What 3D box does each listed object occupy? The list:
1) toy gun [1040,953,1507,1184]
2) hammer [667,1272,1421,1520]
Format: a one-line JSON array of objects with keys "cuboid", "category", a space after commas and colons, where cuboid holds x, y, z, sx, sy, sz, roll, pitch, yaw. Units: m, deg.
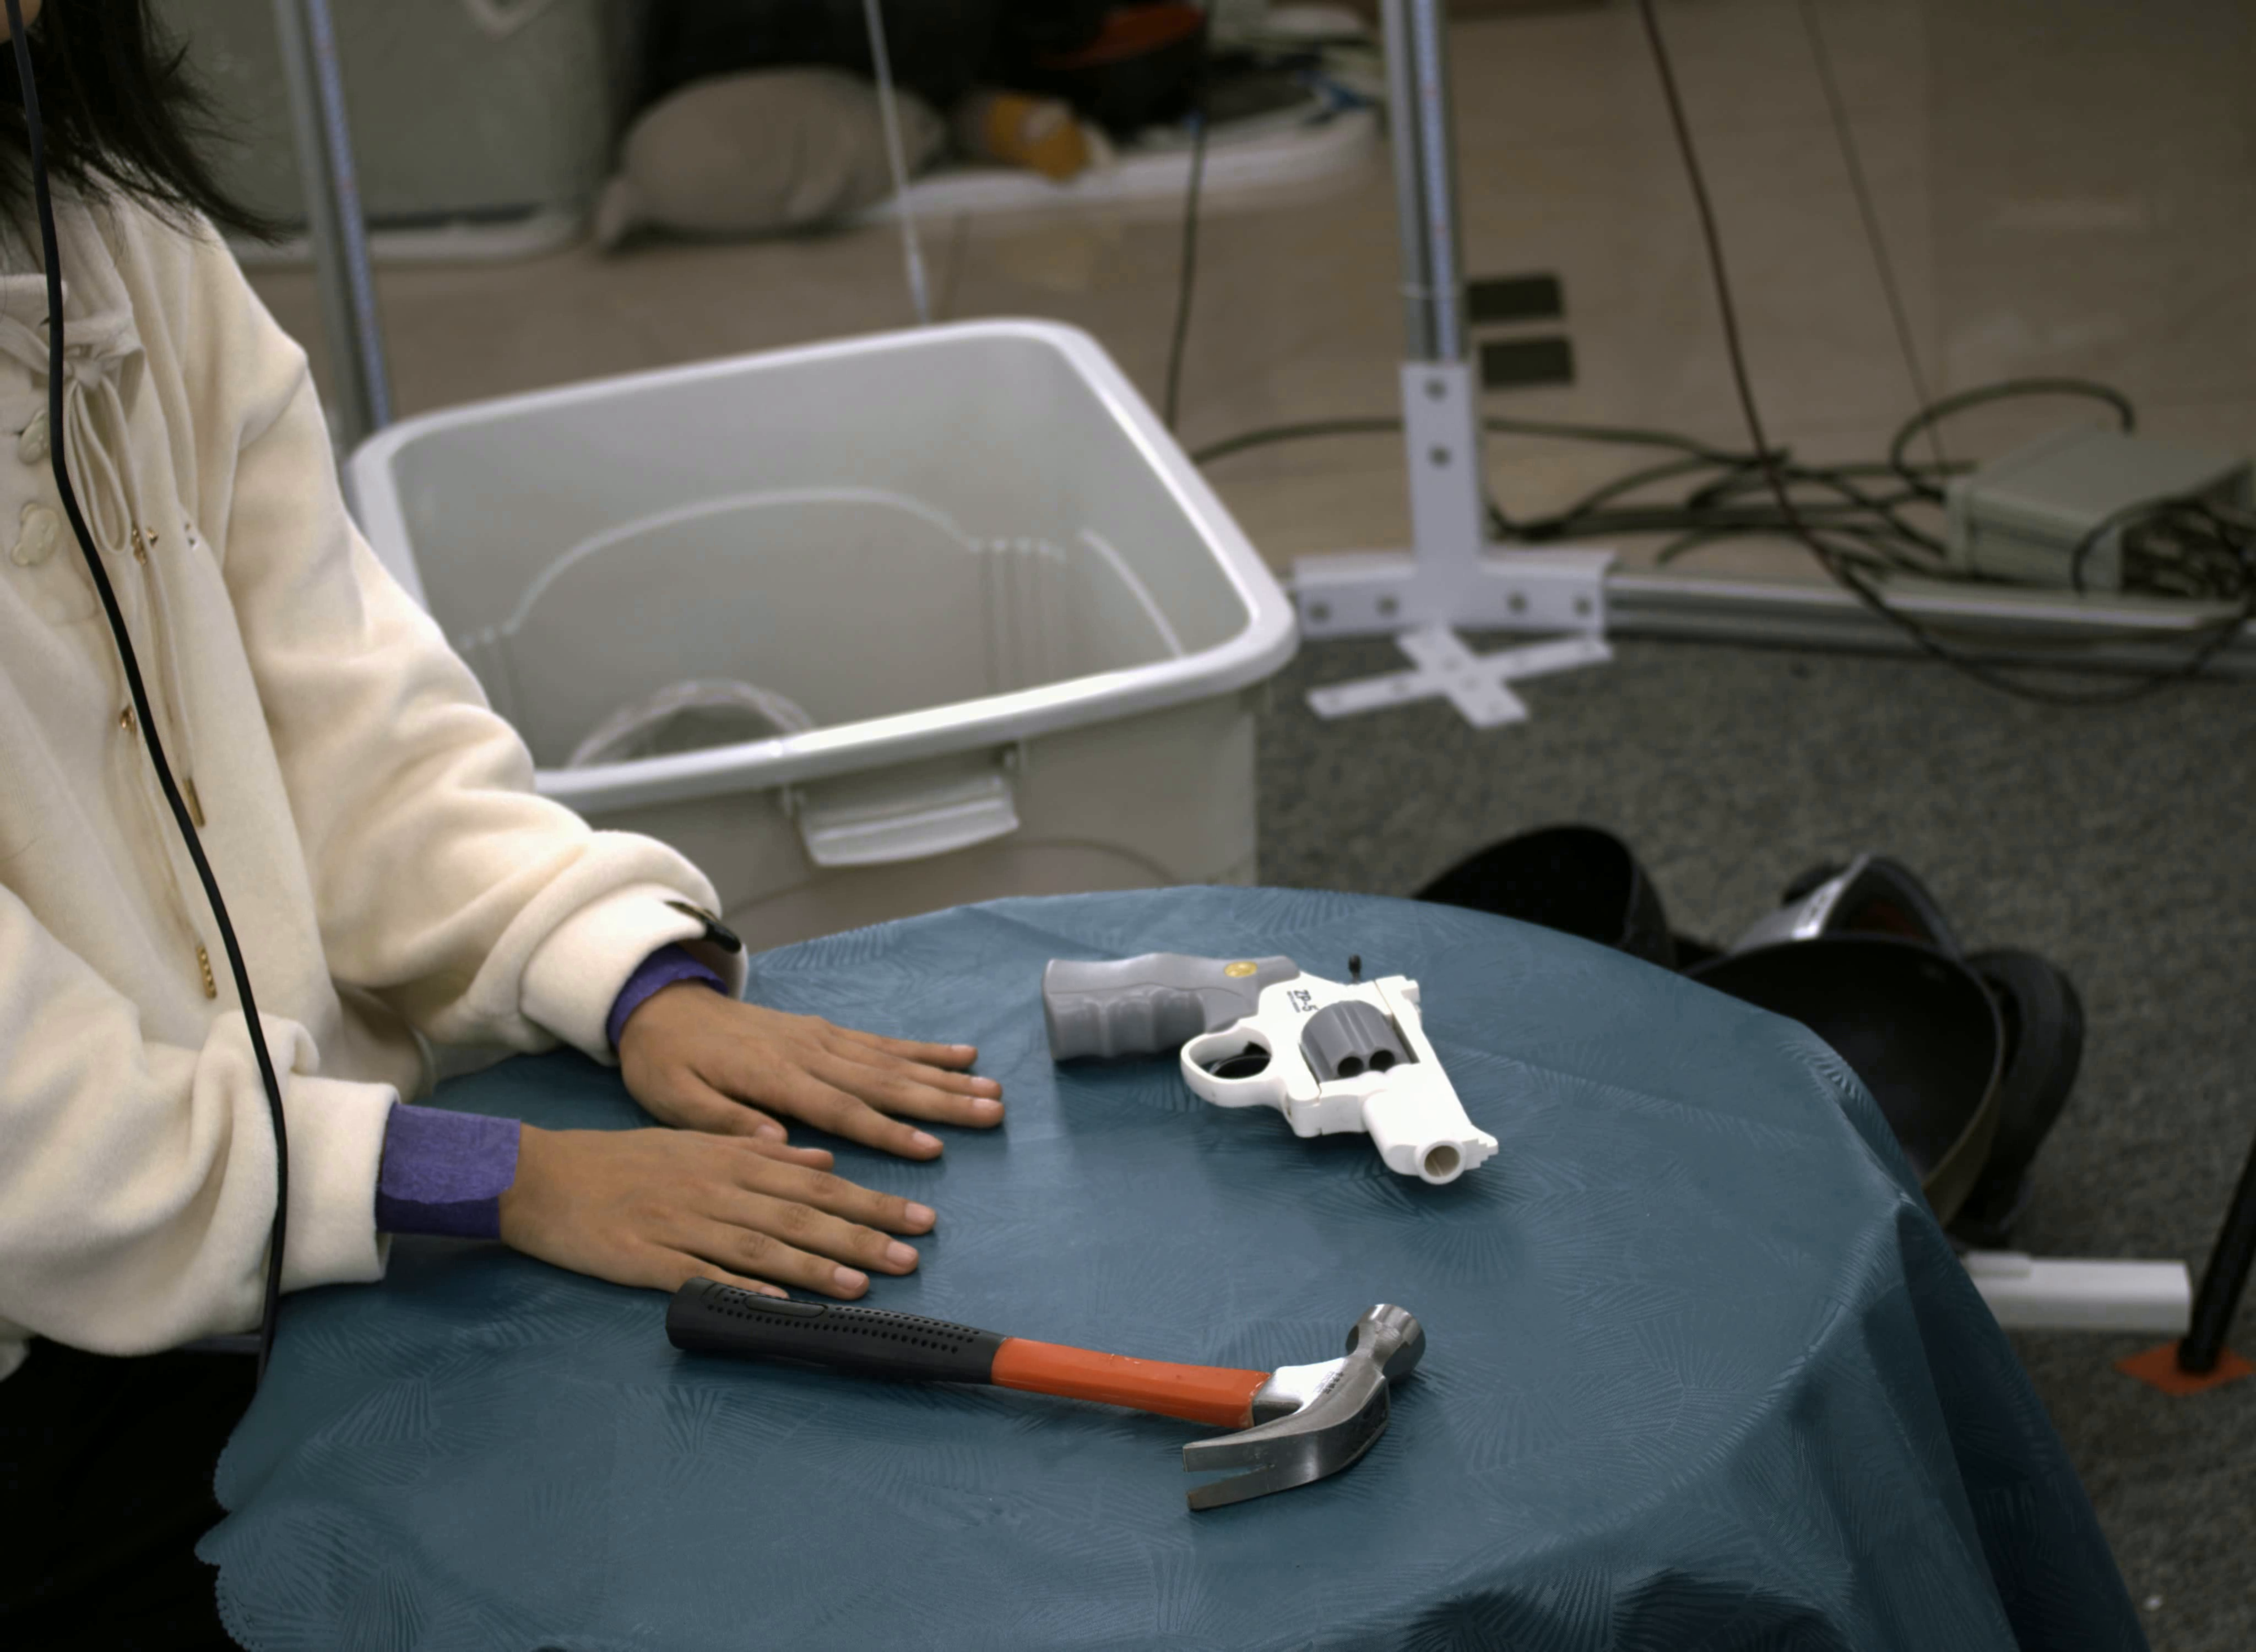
[{"cuboid": [0.051, 0.092, 2.190, 0.141, 0.039, 0.206, -10, 25, -10], "category": "toy gun"}, {"cuboid": [-0.041, 0.190, 2.015, 0.276, 0.027, 0.109, 6, 36, 26], "category": "hammer"}]
